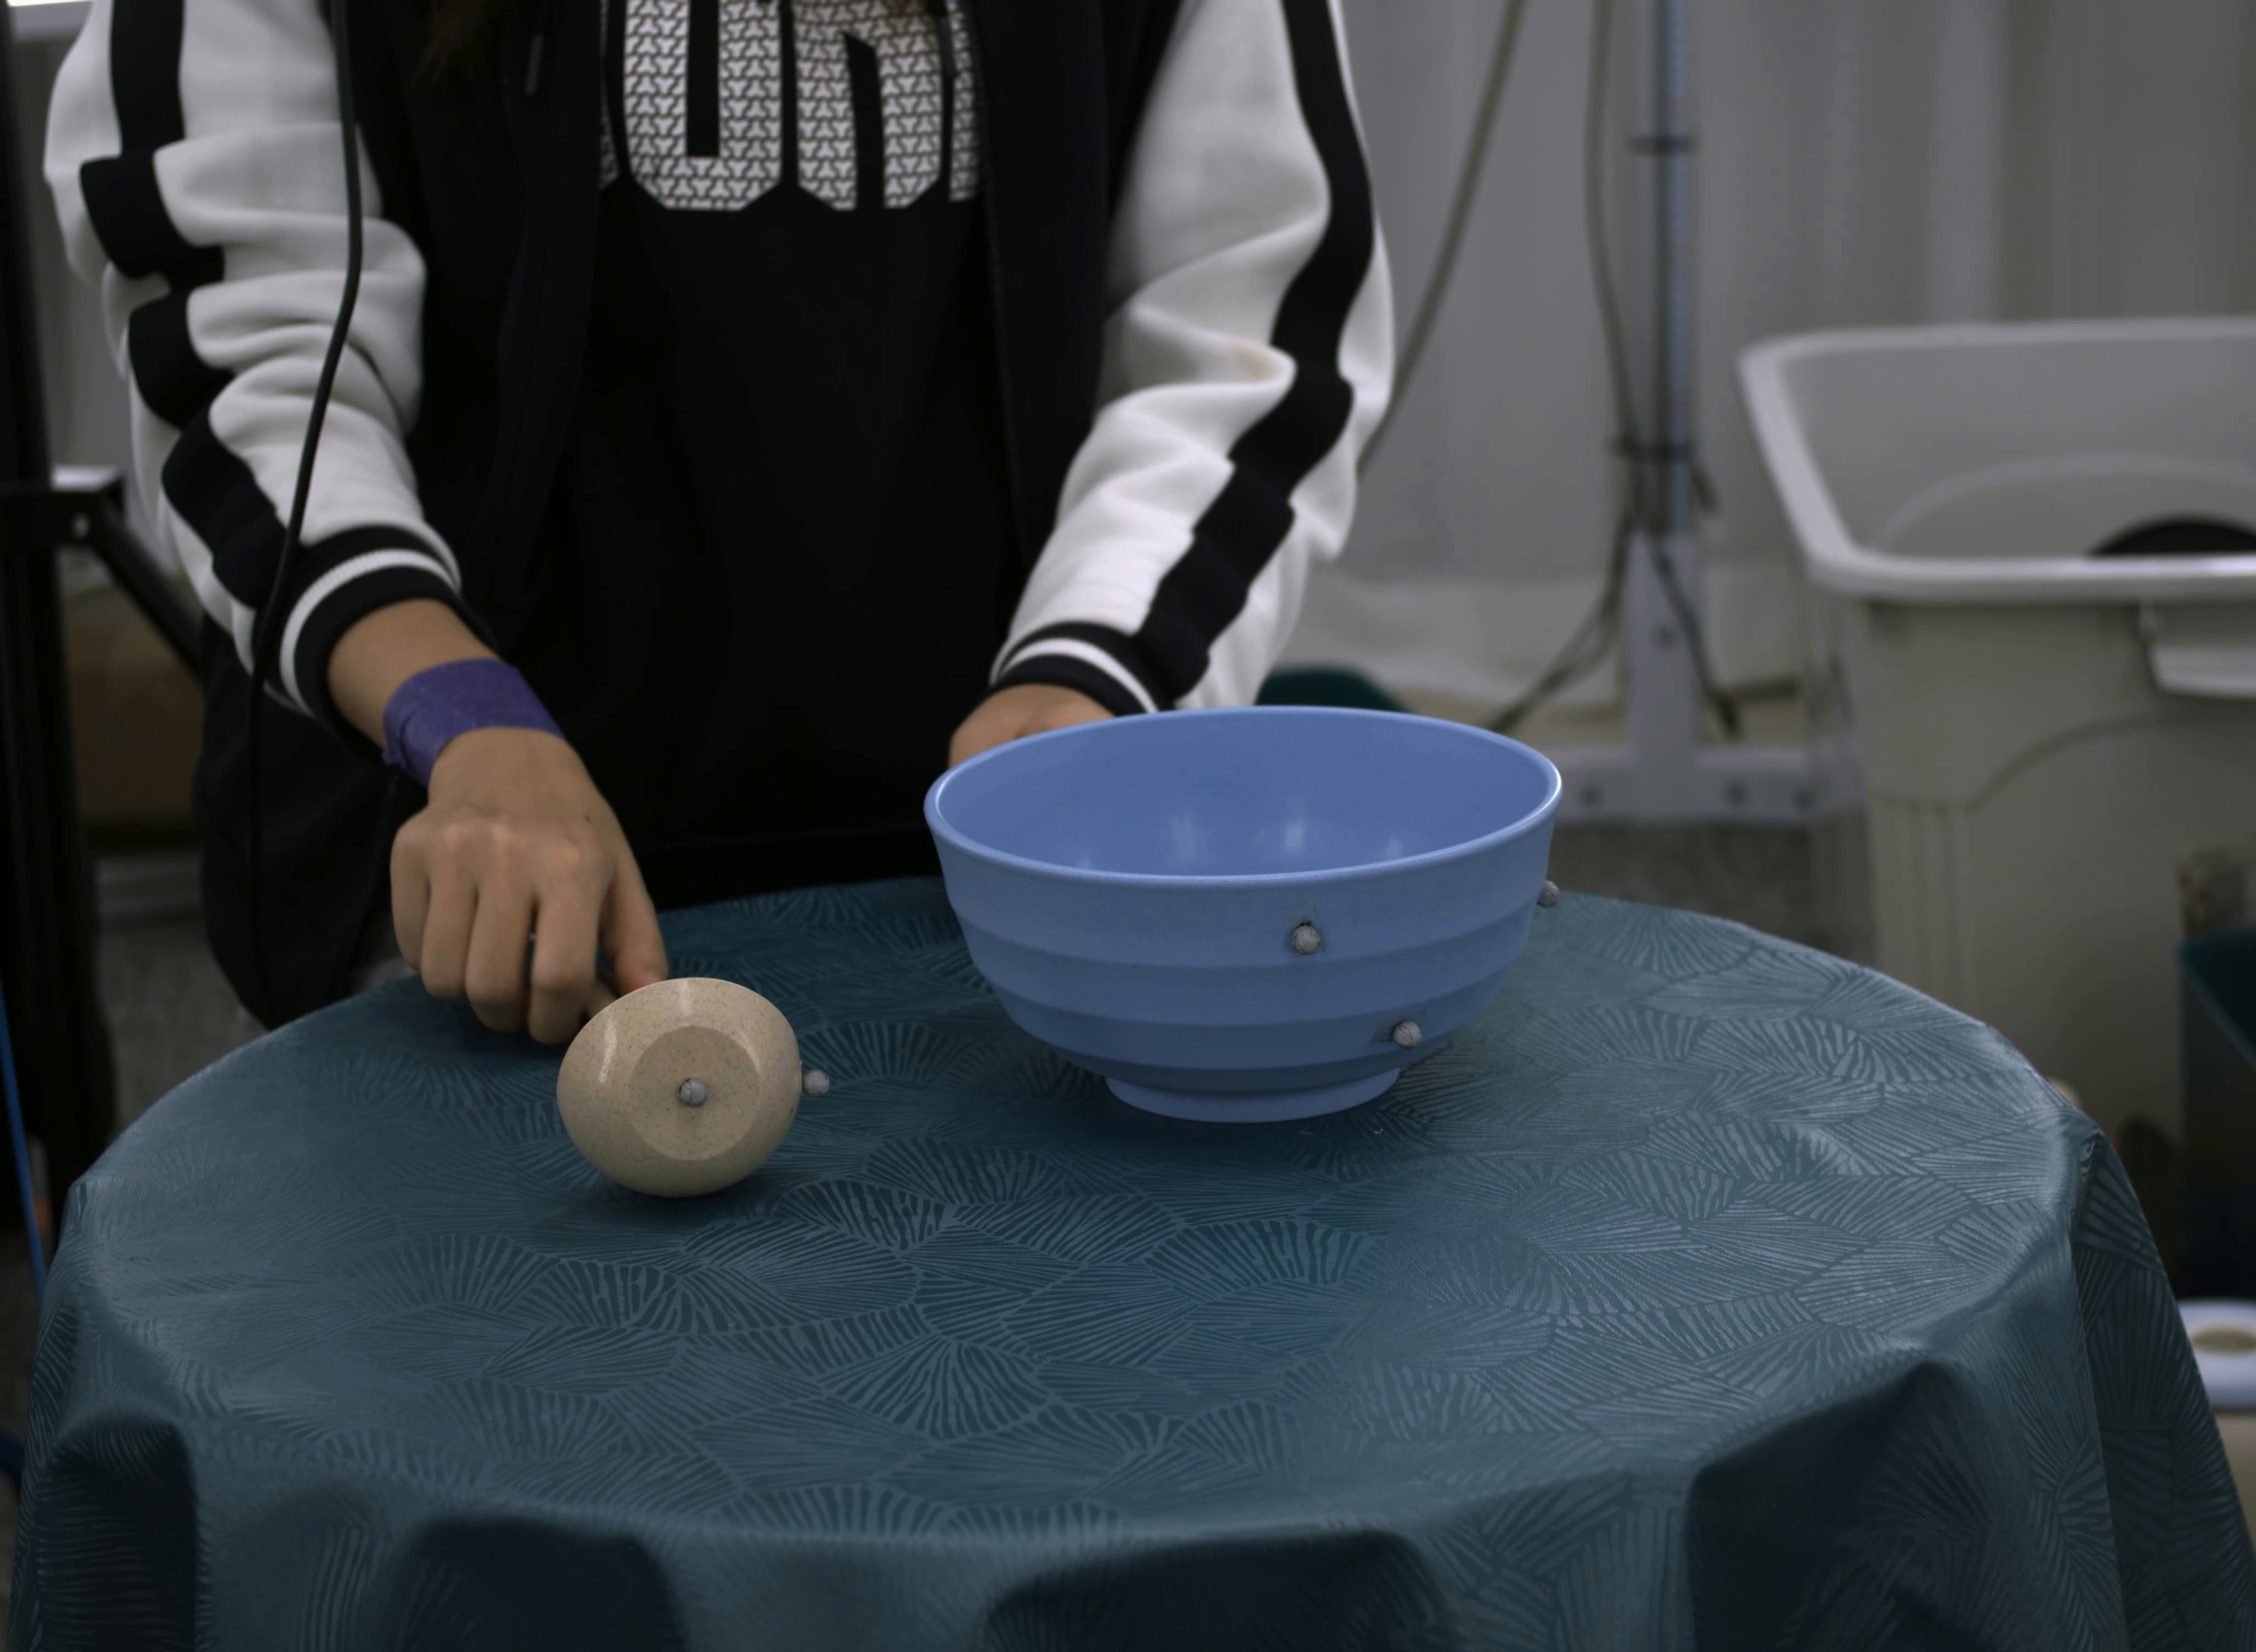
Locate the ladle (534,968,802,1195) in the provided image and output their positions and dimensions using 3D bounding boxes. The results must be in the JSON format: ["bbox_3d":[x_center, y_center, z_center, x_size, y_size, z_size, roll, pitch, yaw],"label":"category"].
[{"bbox_3d":[-0.157,0.049,1.659,0.071,0.073,0.258,-5,16,-15],"label":"ladle"}]

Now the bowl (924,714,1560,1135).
[{"bbox_3d":[0.037,0.036,1.644,0.195,0.095,0.197,-4,16,0],"label":"bowl"}]
